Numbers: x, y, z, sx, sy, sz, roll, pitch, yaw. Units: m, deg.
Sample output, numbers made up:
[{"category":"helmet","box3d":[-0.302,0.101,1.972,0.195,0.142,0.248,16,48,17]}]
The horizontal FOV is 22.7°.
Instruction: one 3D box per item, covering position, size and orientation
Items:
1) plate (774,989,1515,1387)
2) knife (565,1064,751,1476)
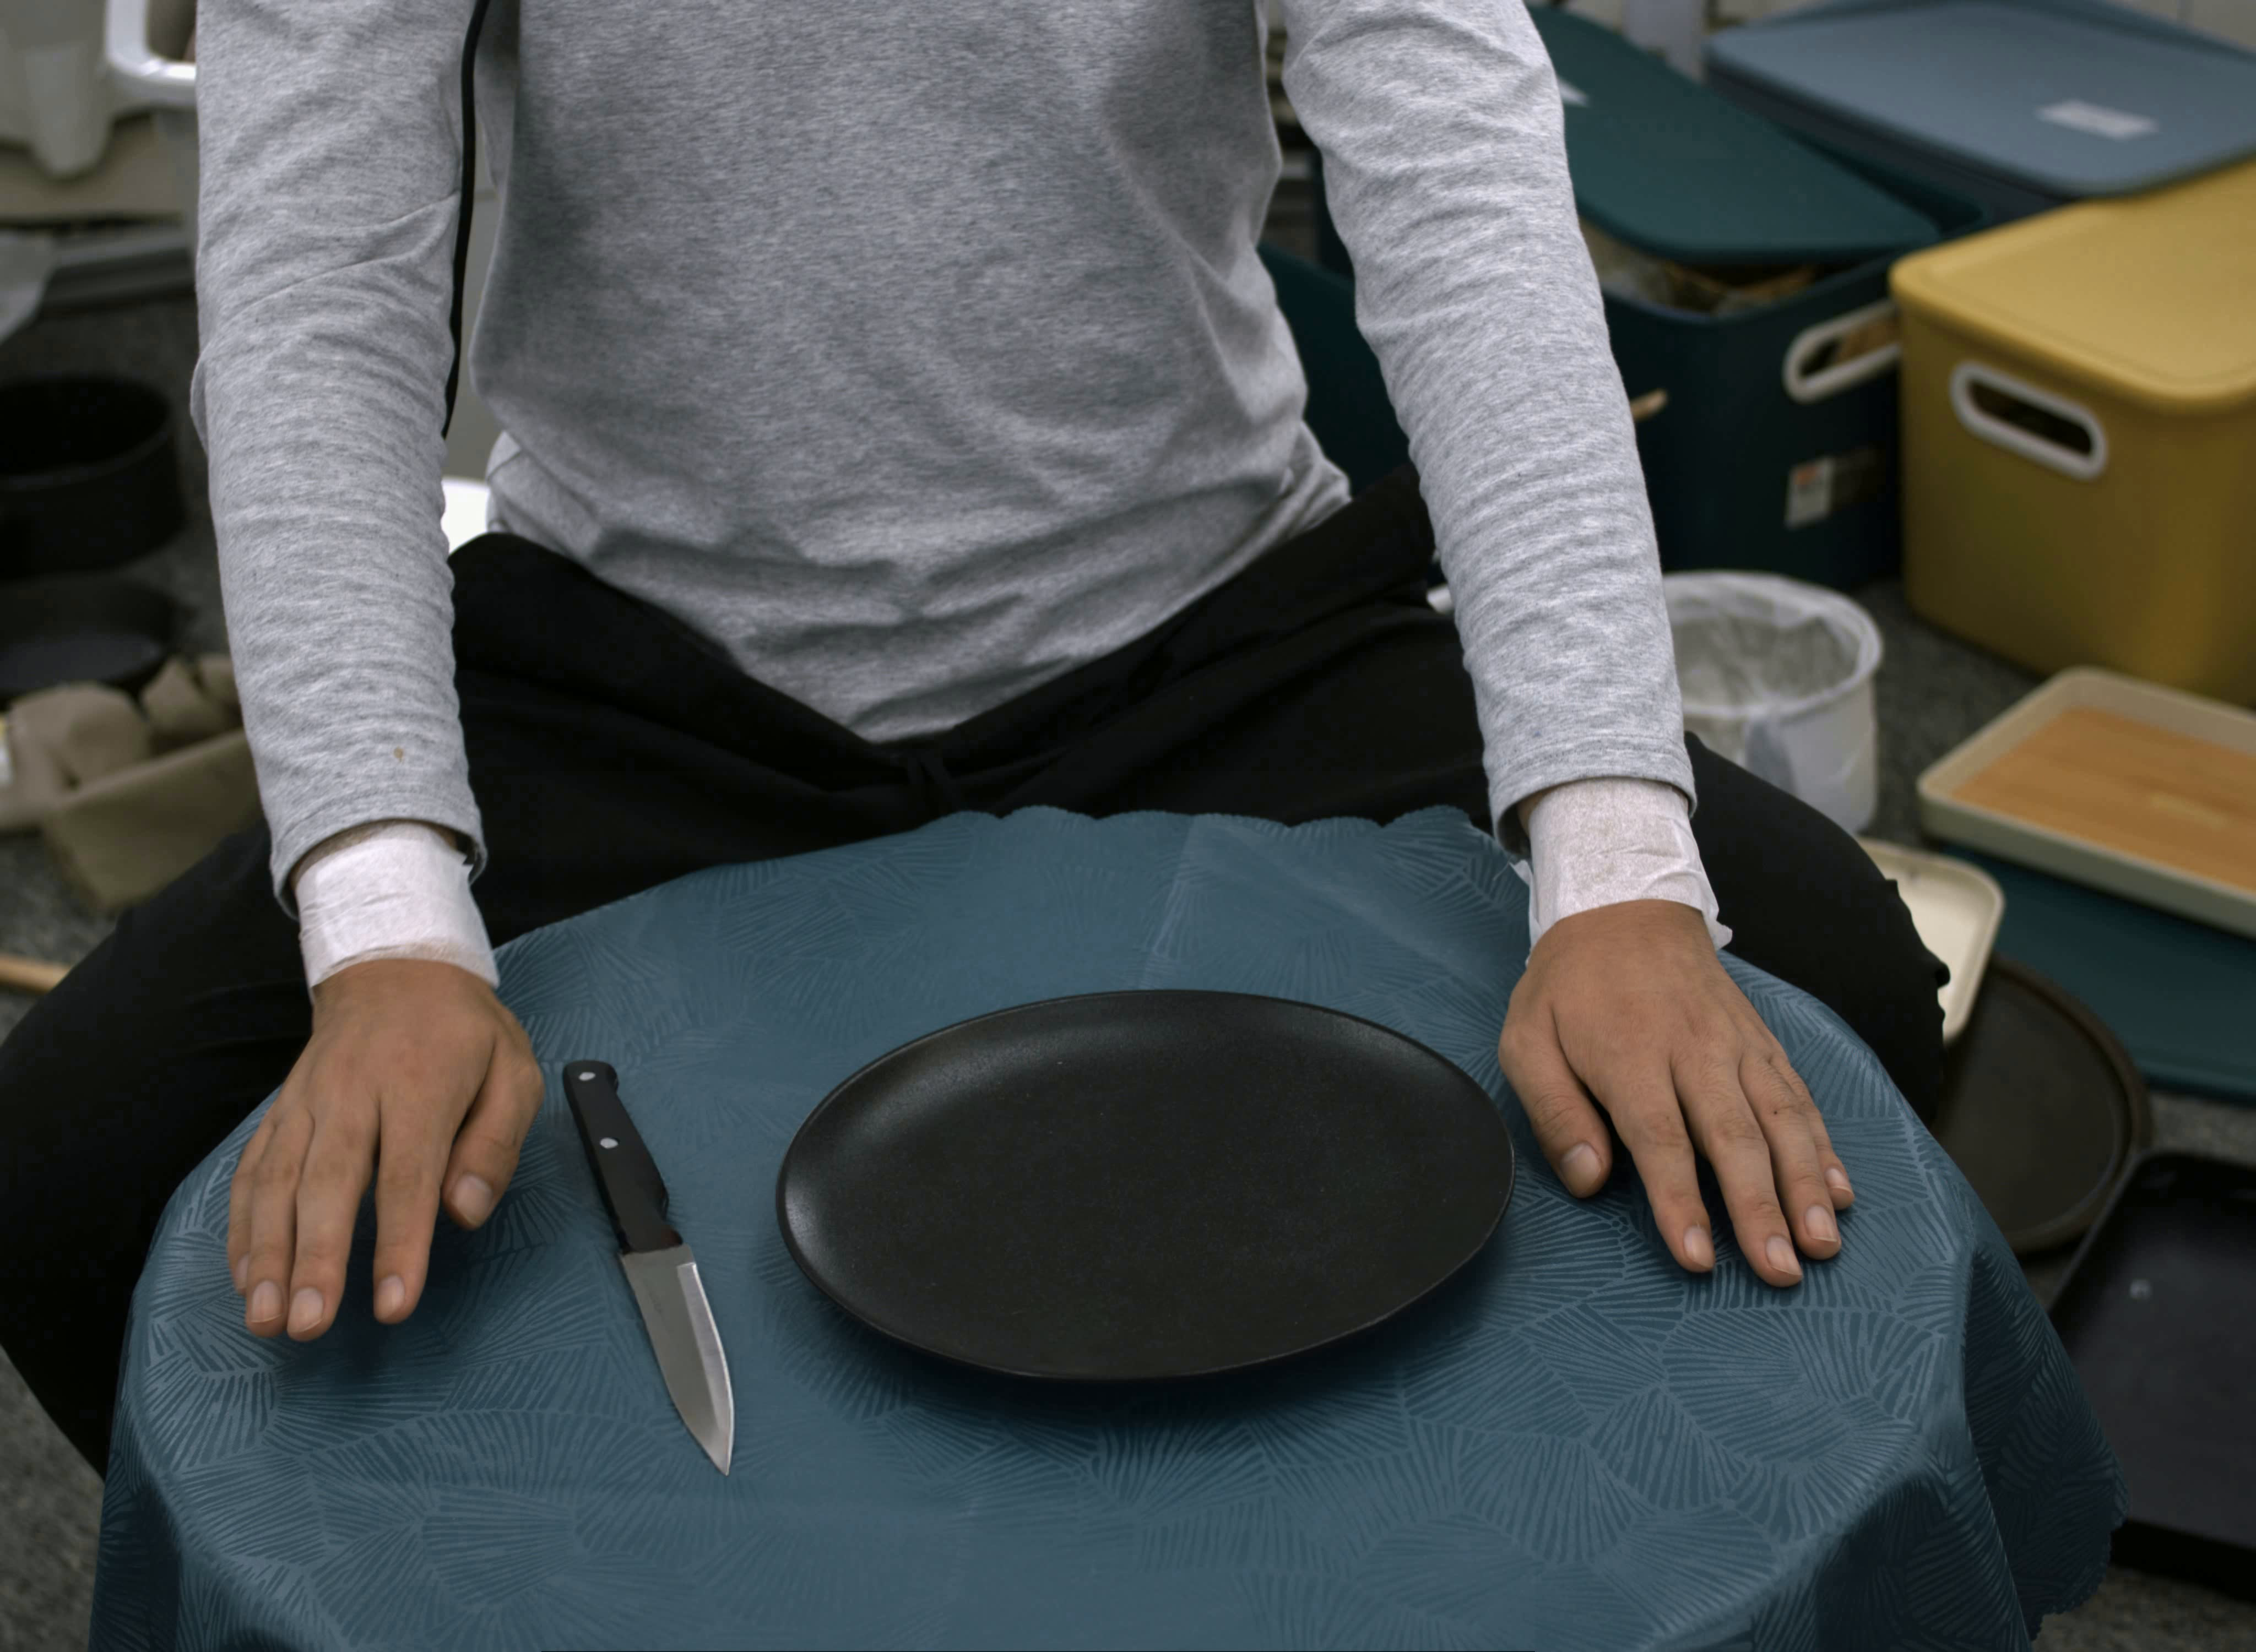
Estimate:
[{"category":"plate","box3d":[0.005,0.122,1.836,0.243,0.023,0.248,-2,27,1]},{"category":"knife","box3d":[-0.153,0.144,1.821,0.024,0.016,0.241,-12,31,-11]}]
